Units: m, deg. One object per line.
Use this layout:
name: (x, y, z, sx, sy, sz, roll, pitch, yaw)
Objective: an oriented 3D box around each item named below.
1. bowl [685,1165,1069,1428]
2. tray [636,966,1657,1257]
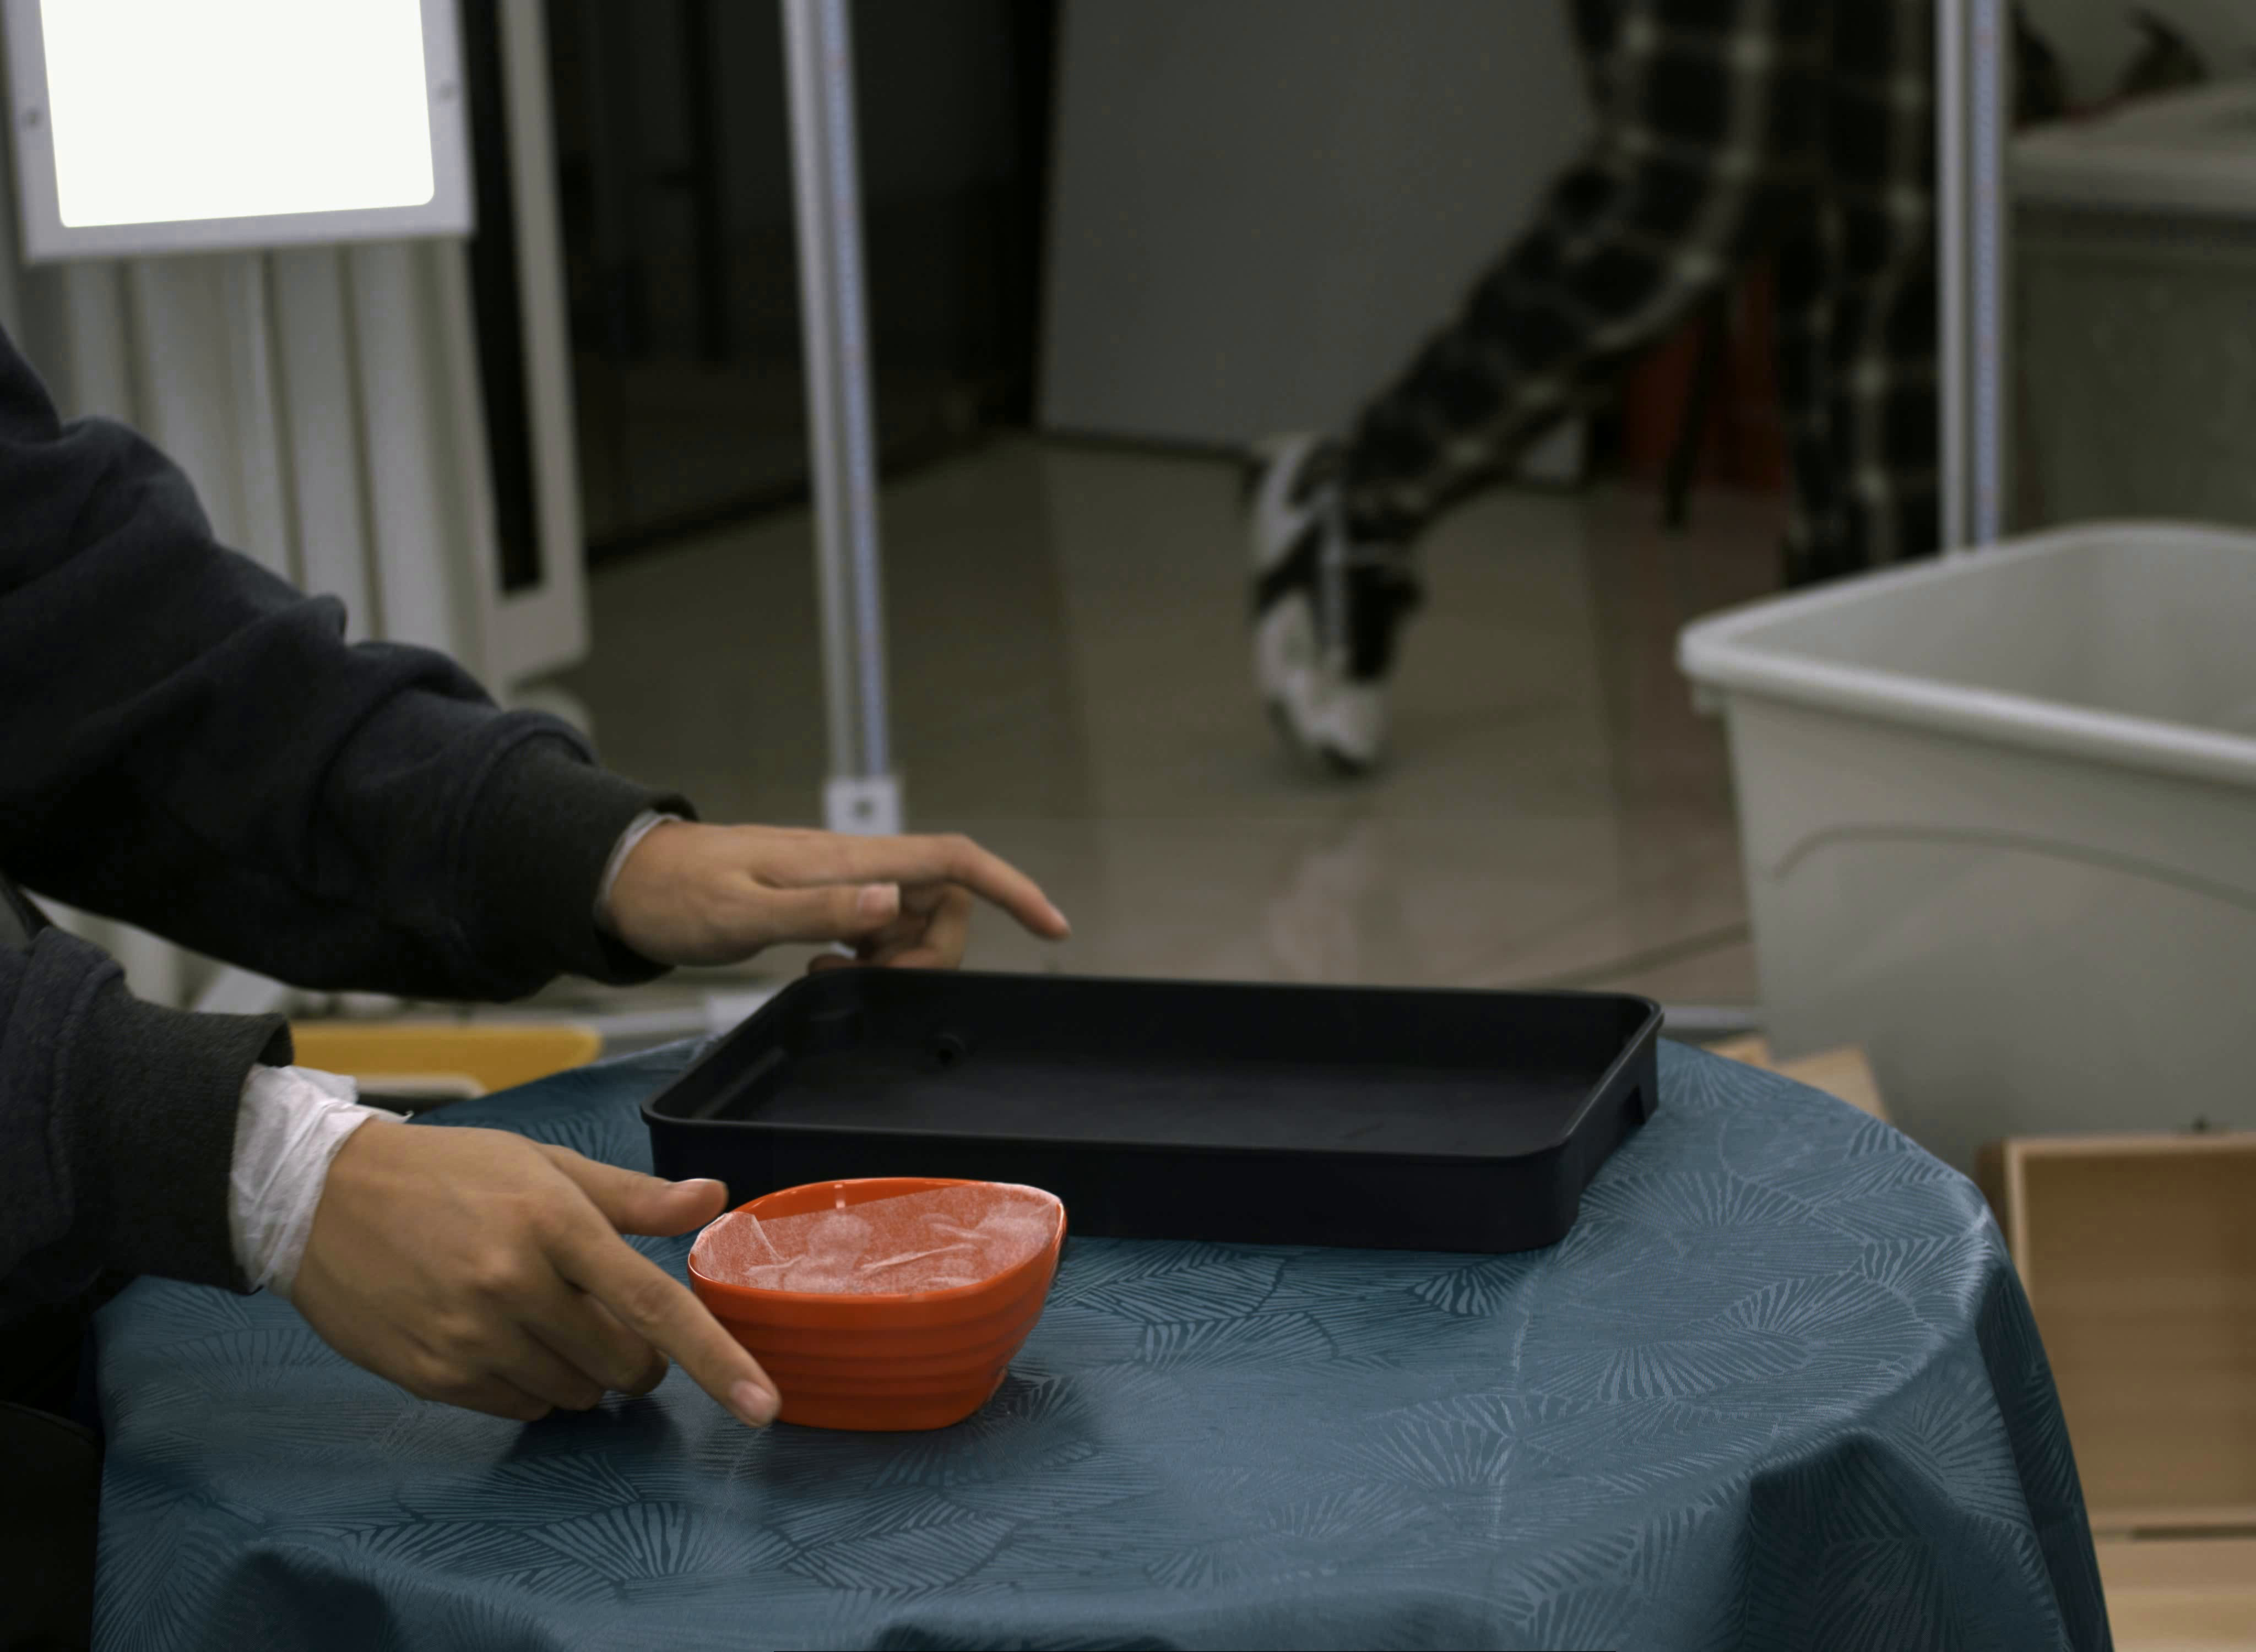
bowl: (-0.072, 0.141, 1.590, 0.117, 0.052, 0.119, -2, 15, 0)
tray: (0.009, 0.093, 1.803, 0.317, 0.037, 0.182, 1, 15, 19)
